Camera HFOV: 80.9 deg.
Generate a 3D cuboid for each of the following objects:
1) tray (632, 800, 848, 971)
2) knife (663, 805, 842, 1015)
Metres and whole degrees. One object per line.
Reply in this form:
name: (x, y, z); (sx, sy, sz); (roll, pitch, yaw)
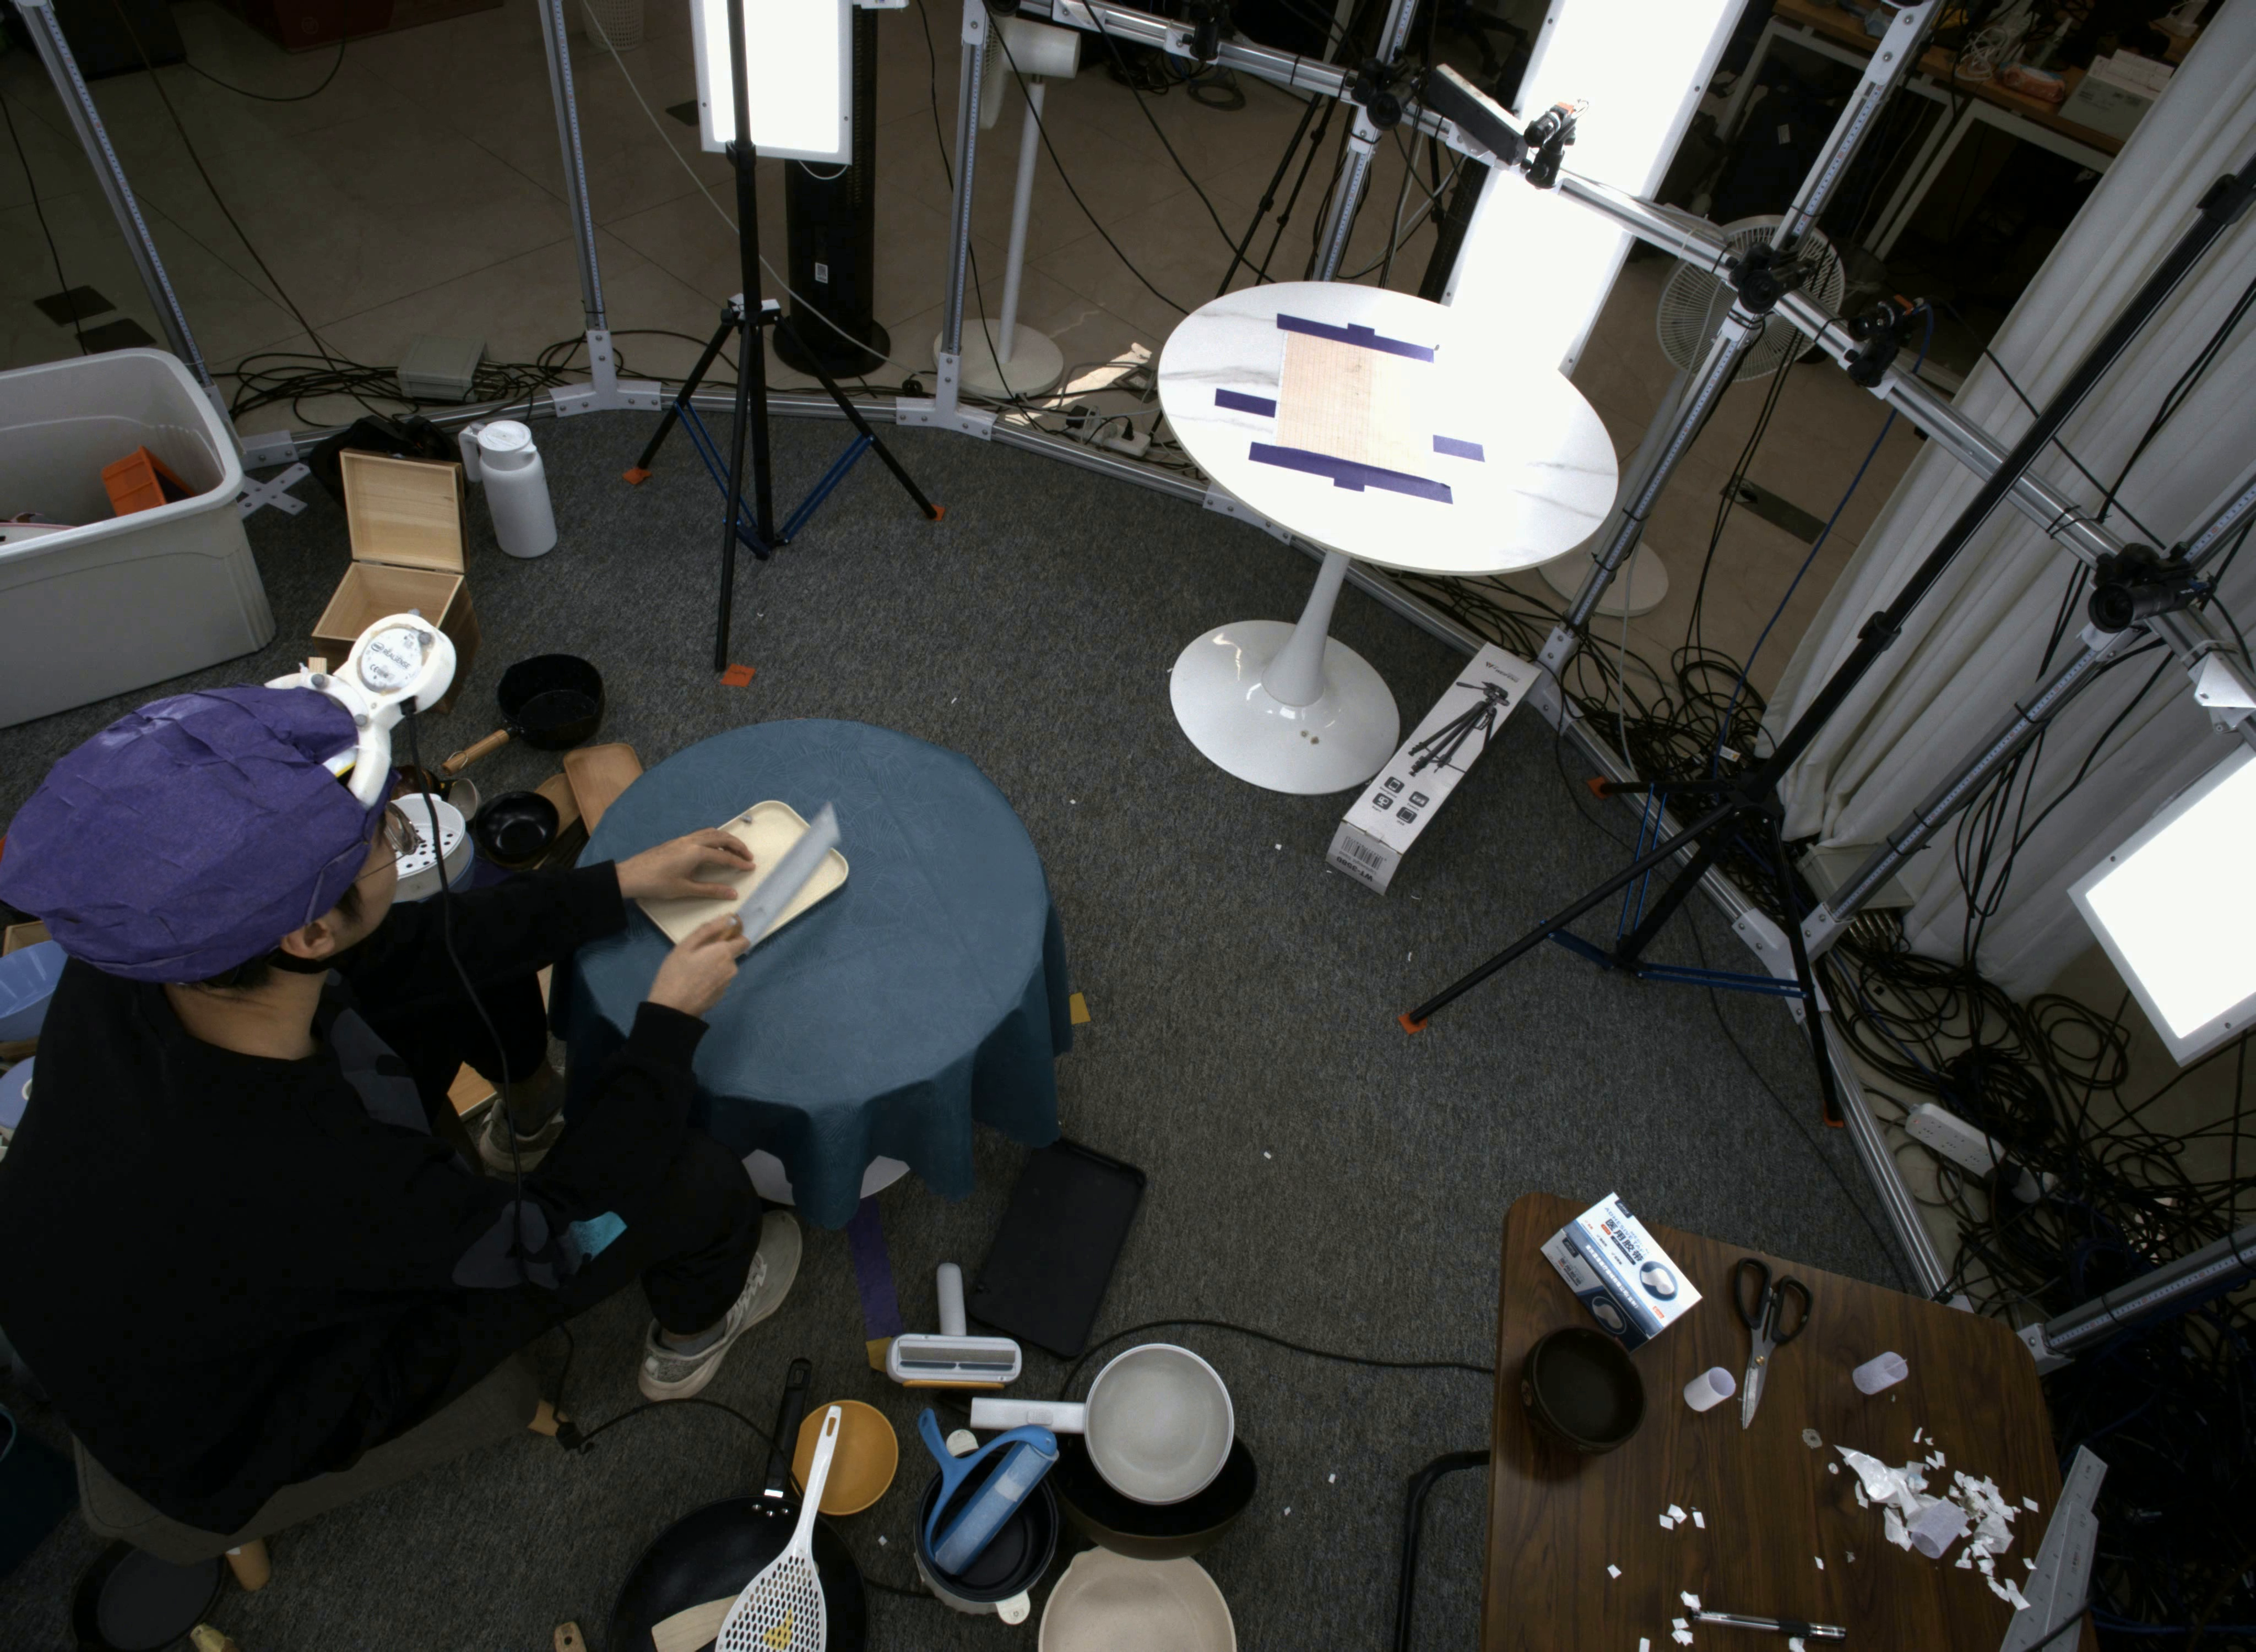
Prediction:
tray: (-0.488, 0.071, 1.631); (0.168, 0.018, 0.240); (42, 54, 15)
knife: (-0.429, 0.103, 1.510); (0.020, 0.095, 0.305); (27, 60, 14)
